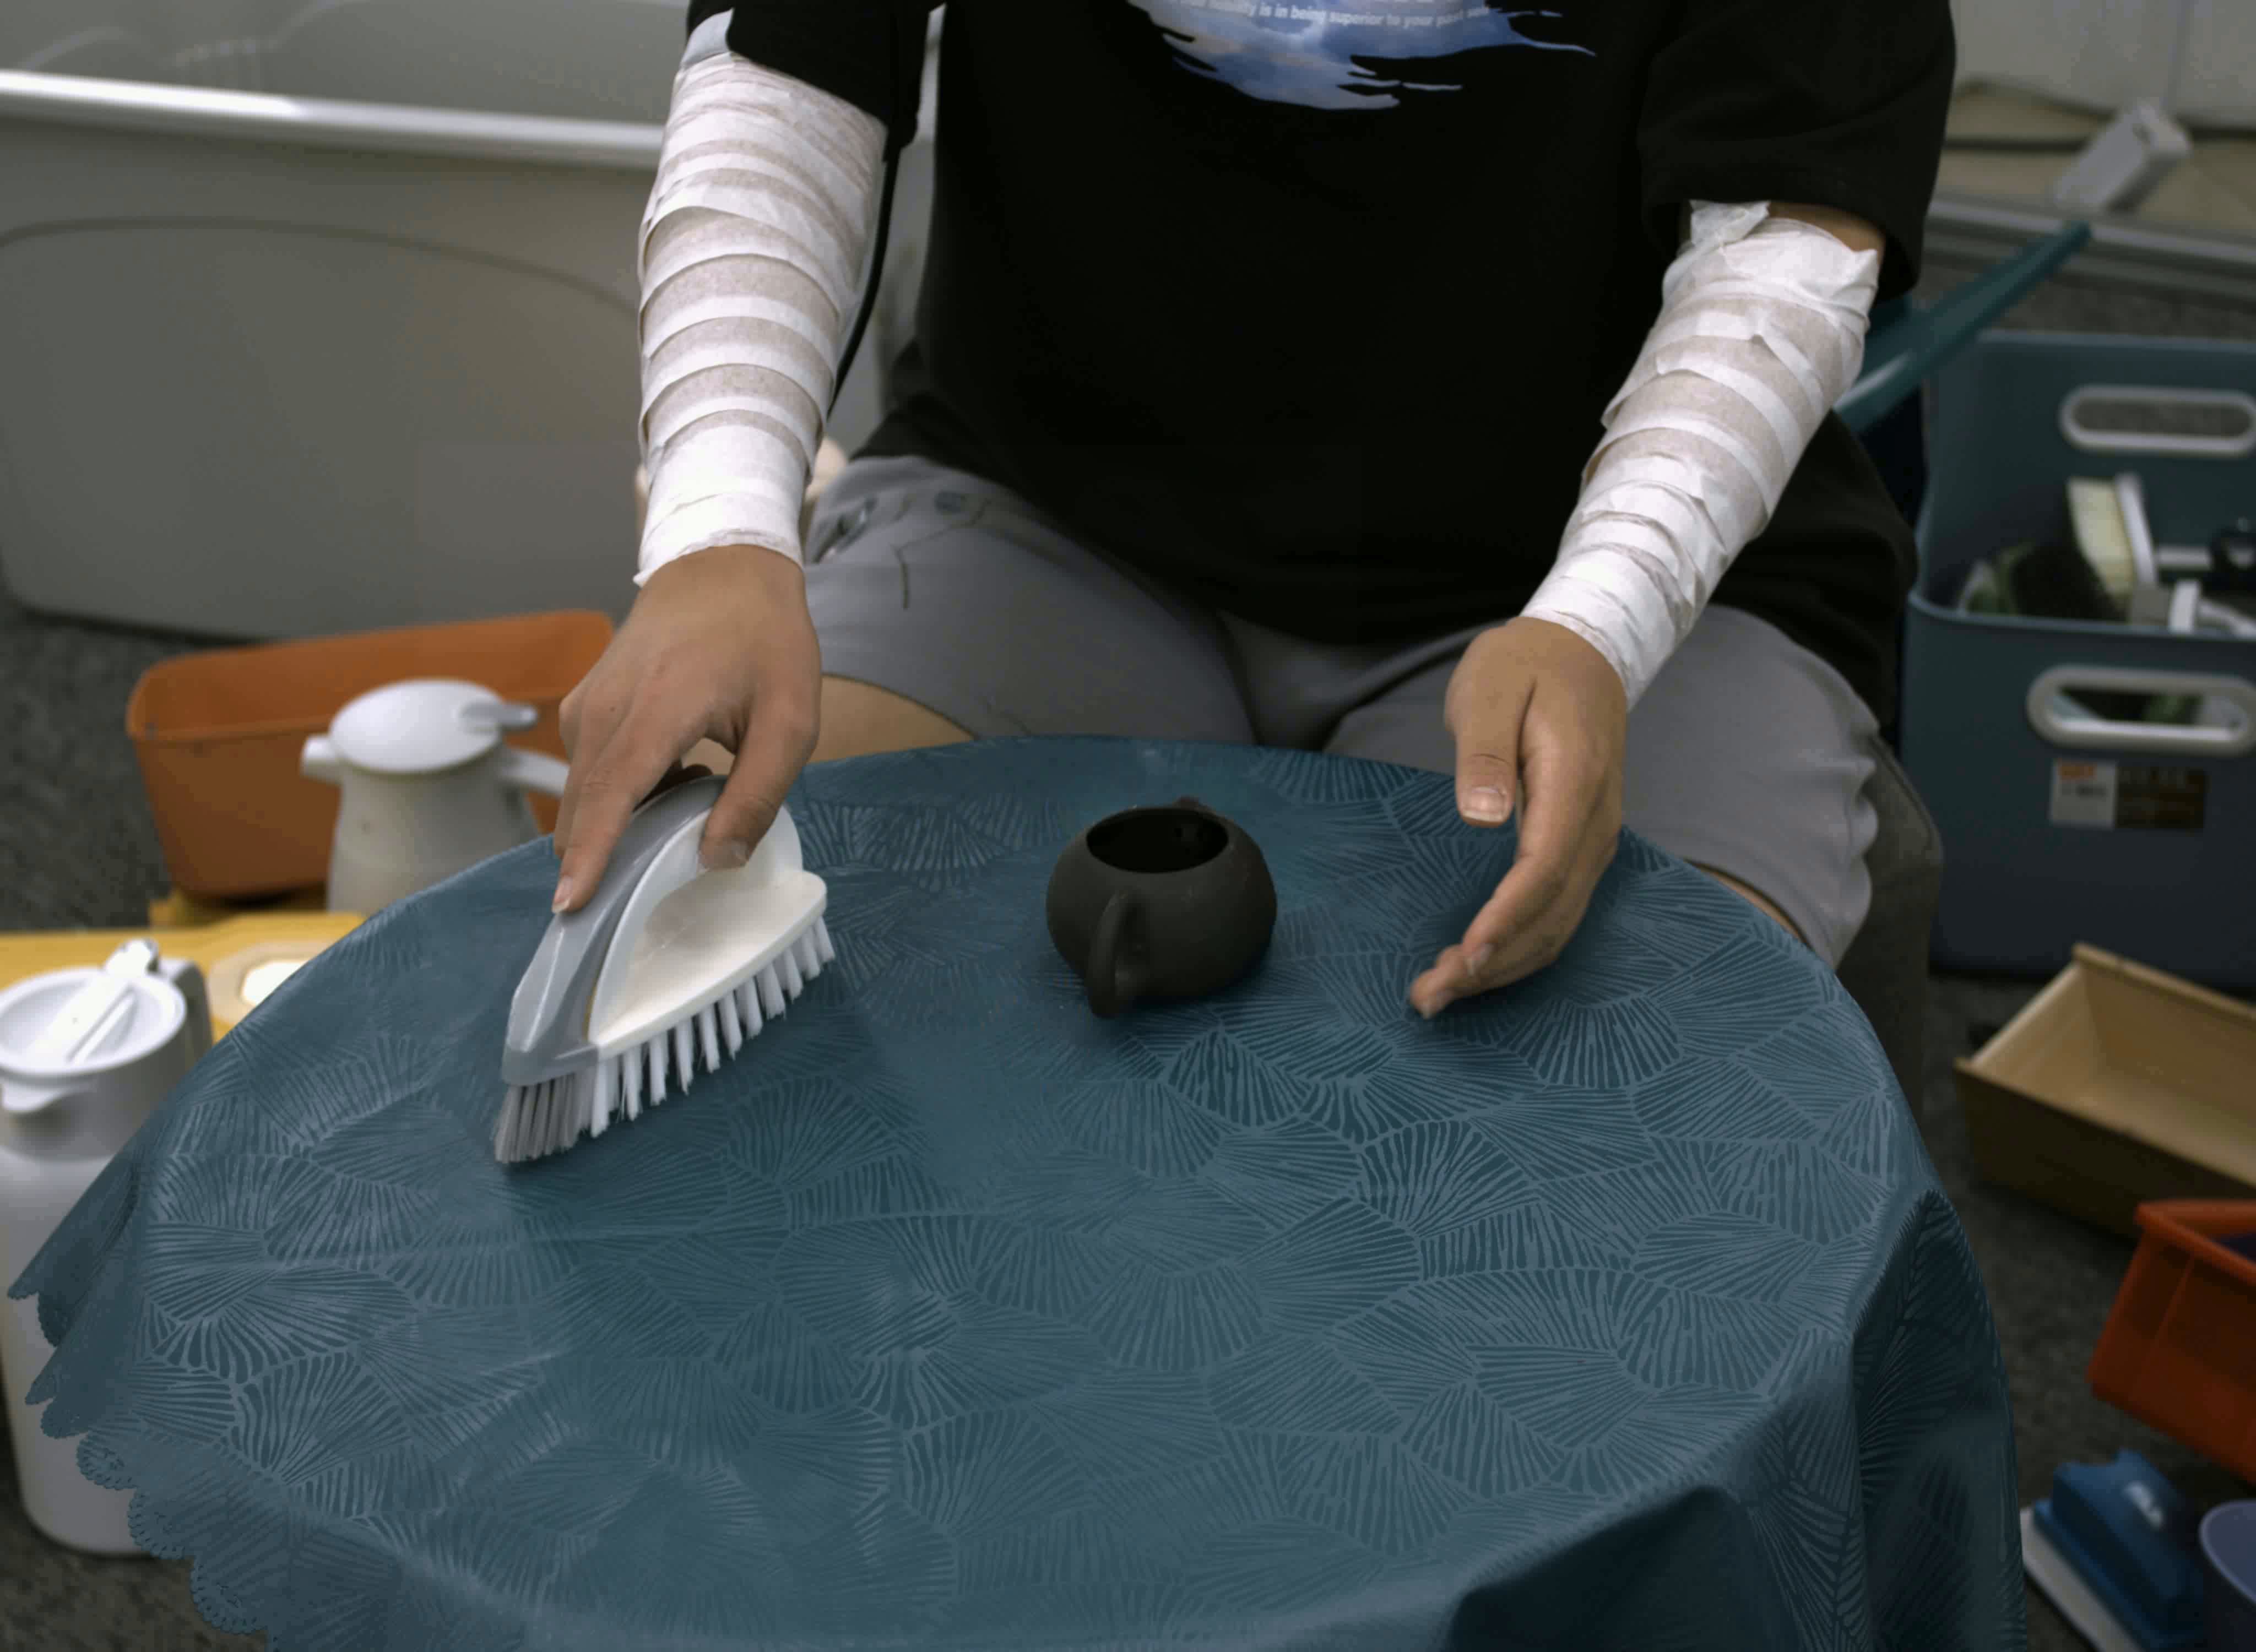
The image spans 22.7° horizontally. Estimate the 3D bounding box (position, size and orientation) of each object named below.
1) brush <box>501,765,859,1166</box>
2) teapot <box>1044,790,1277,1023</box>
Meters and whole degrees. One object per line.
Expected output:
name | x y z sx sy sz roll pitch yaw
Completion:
brush | -0.163 0.041 1.935 0.061 0.093 0.178 9 30 31
teapot | 0.007 0.032 1.981 0.082 0.052 0.116 7 27 18
